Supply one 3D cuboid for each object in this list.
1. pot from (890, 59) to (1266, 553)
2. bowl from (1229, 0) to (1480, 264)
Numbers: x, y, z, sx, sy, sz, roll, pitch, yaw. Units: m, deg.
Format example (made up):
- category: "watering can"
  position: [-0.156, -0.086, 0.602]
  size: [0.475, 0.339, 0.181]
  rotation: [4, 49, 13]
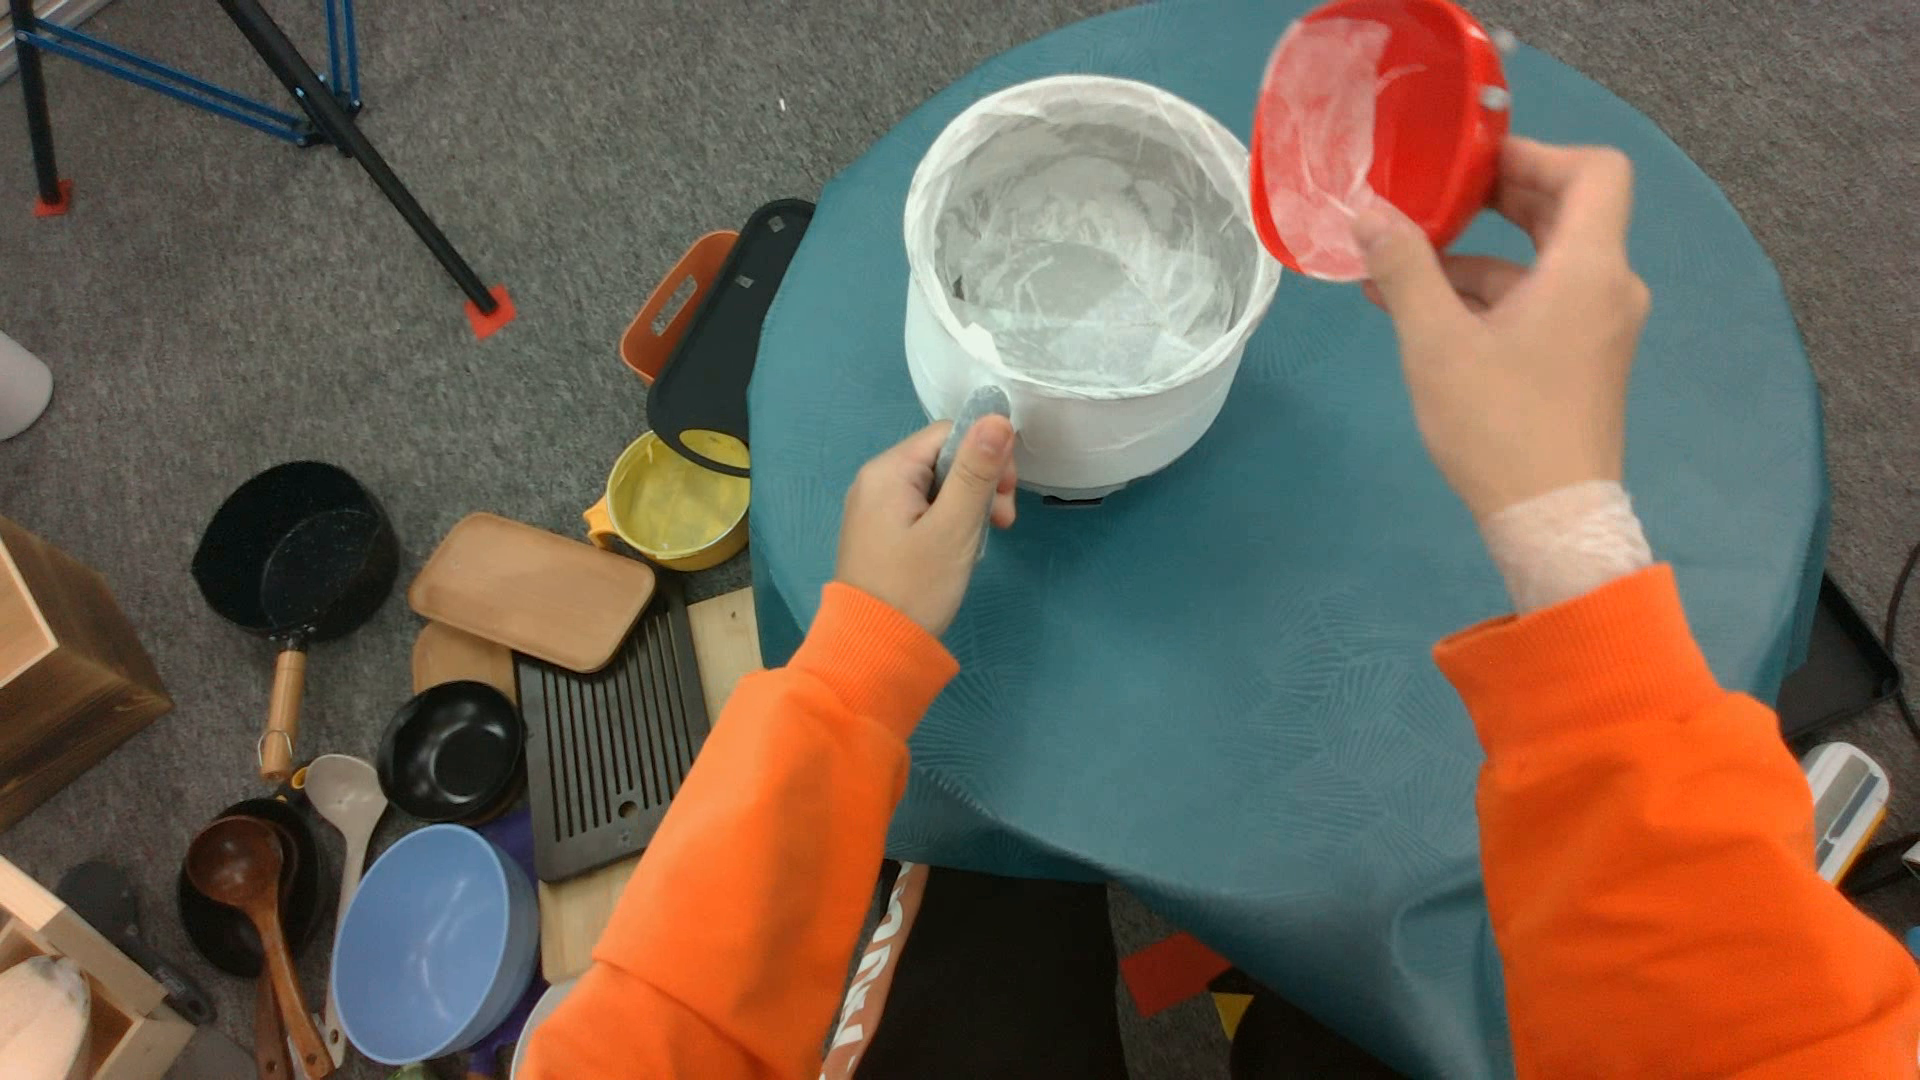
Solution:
- category: "pot"
  position: [0.040, -0.107, 0.690]
  size: [0.178, 0.136, 0.234]
  rotation: [26, 69, 8]
- category: "bowl"
  position: [0.164, -0.167, 0.552]
  size: [0.051, 0.118, 0.119]
  rotation: [-8, 60, -31]
